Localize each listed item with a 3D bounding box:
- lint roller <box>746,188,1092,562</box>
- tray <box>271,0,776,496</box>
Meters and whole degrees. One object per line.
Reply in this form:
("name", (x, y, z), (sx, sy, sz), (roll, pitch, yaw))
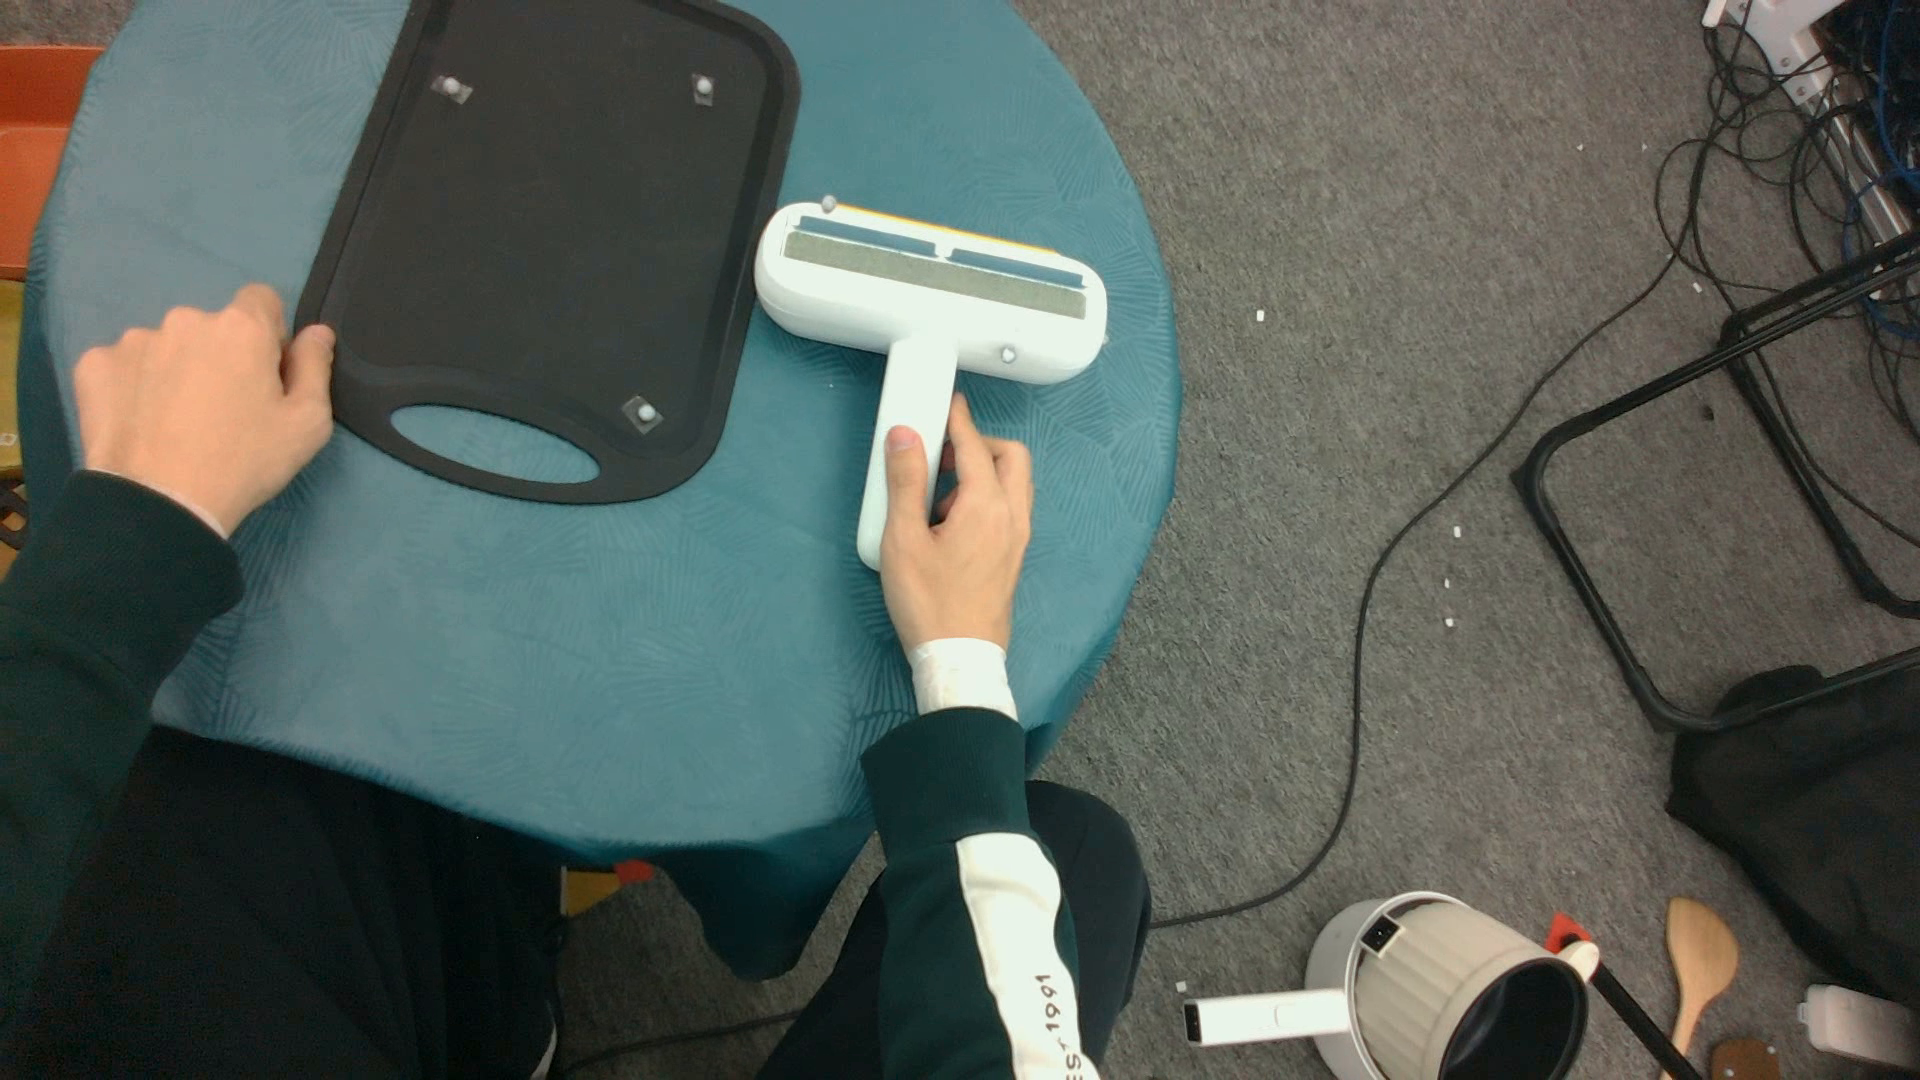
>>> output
("lint roller", (-0.038, -0.082, 0.758), (0.193, 0.074, 0.192), (16, 82, -10))
("tray", (-0.220, -0.178, 0.728), (0.211, 0.010, 0.326), (15, 68, -17))
